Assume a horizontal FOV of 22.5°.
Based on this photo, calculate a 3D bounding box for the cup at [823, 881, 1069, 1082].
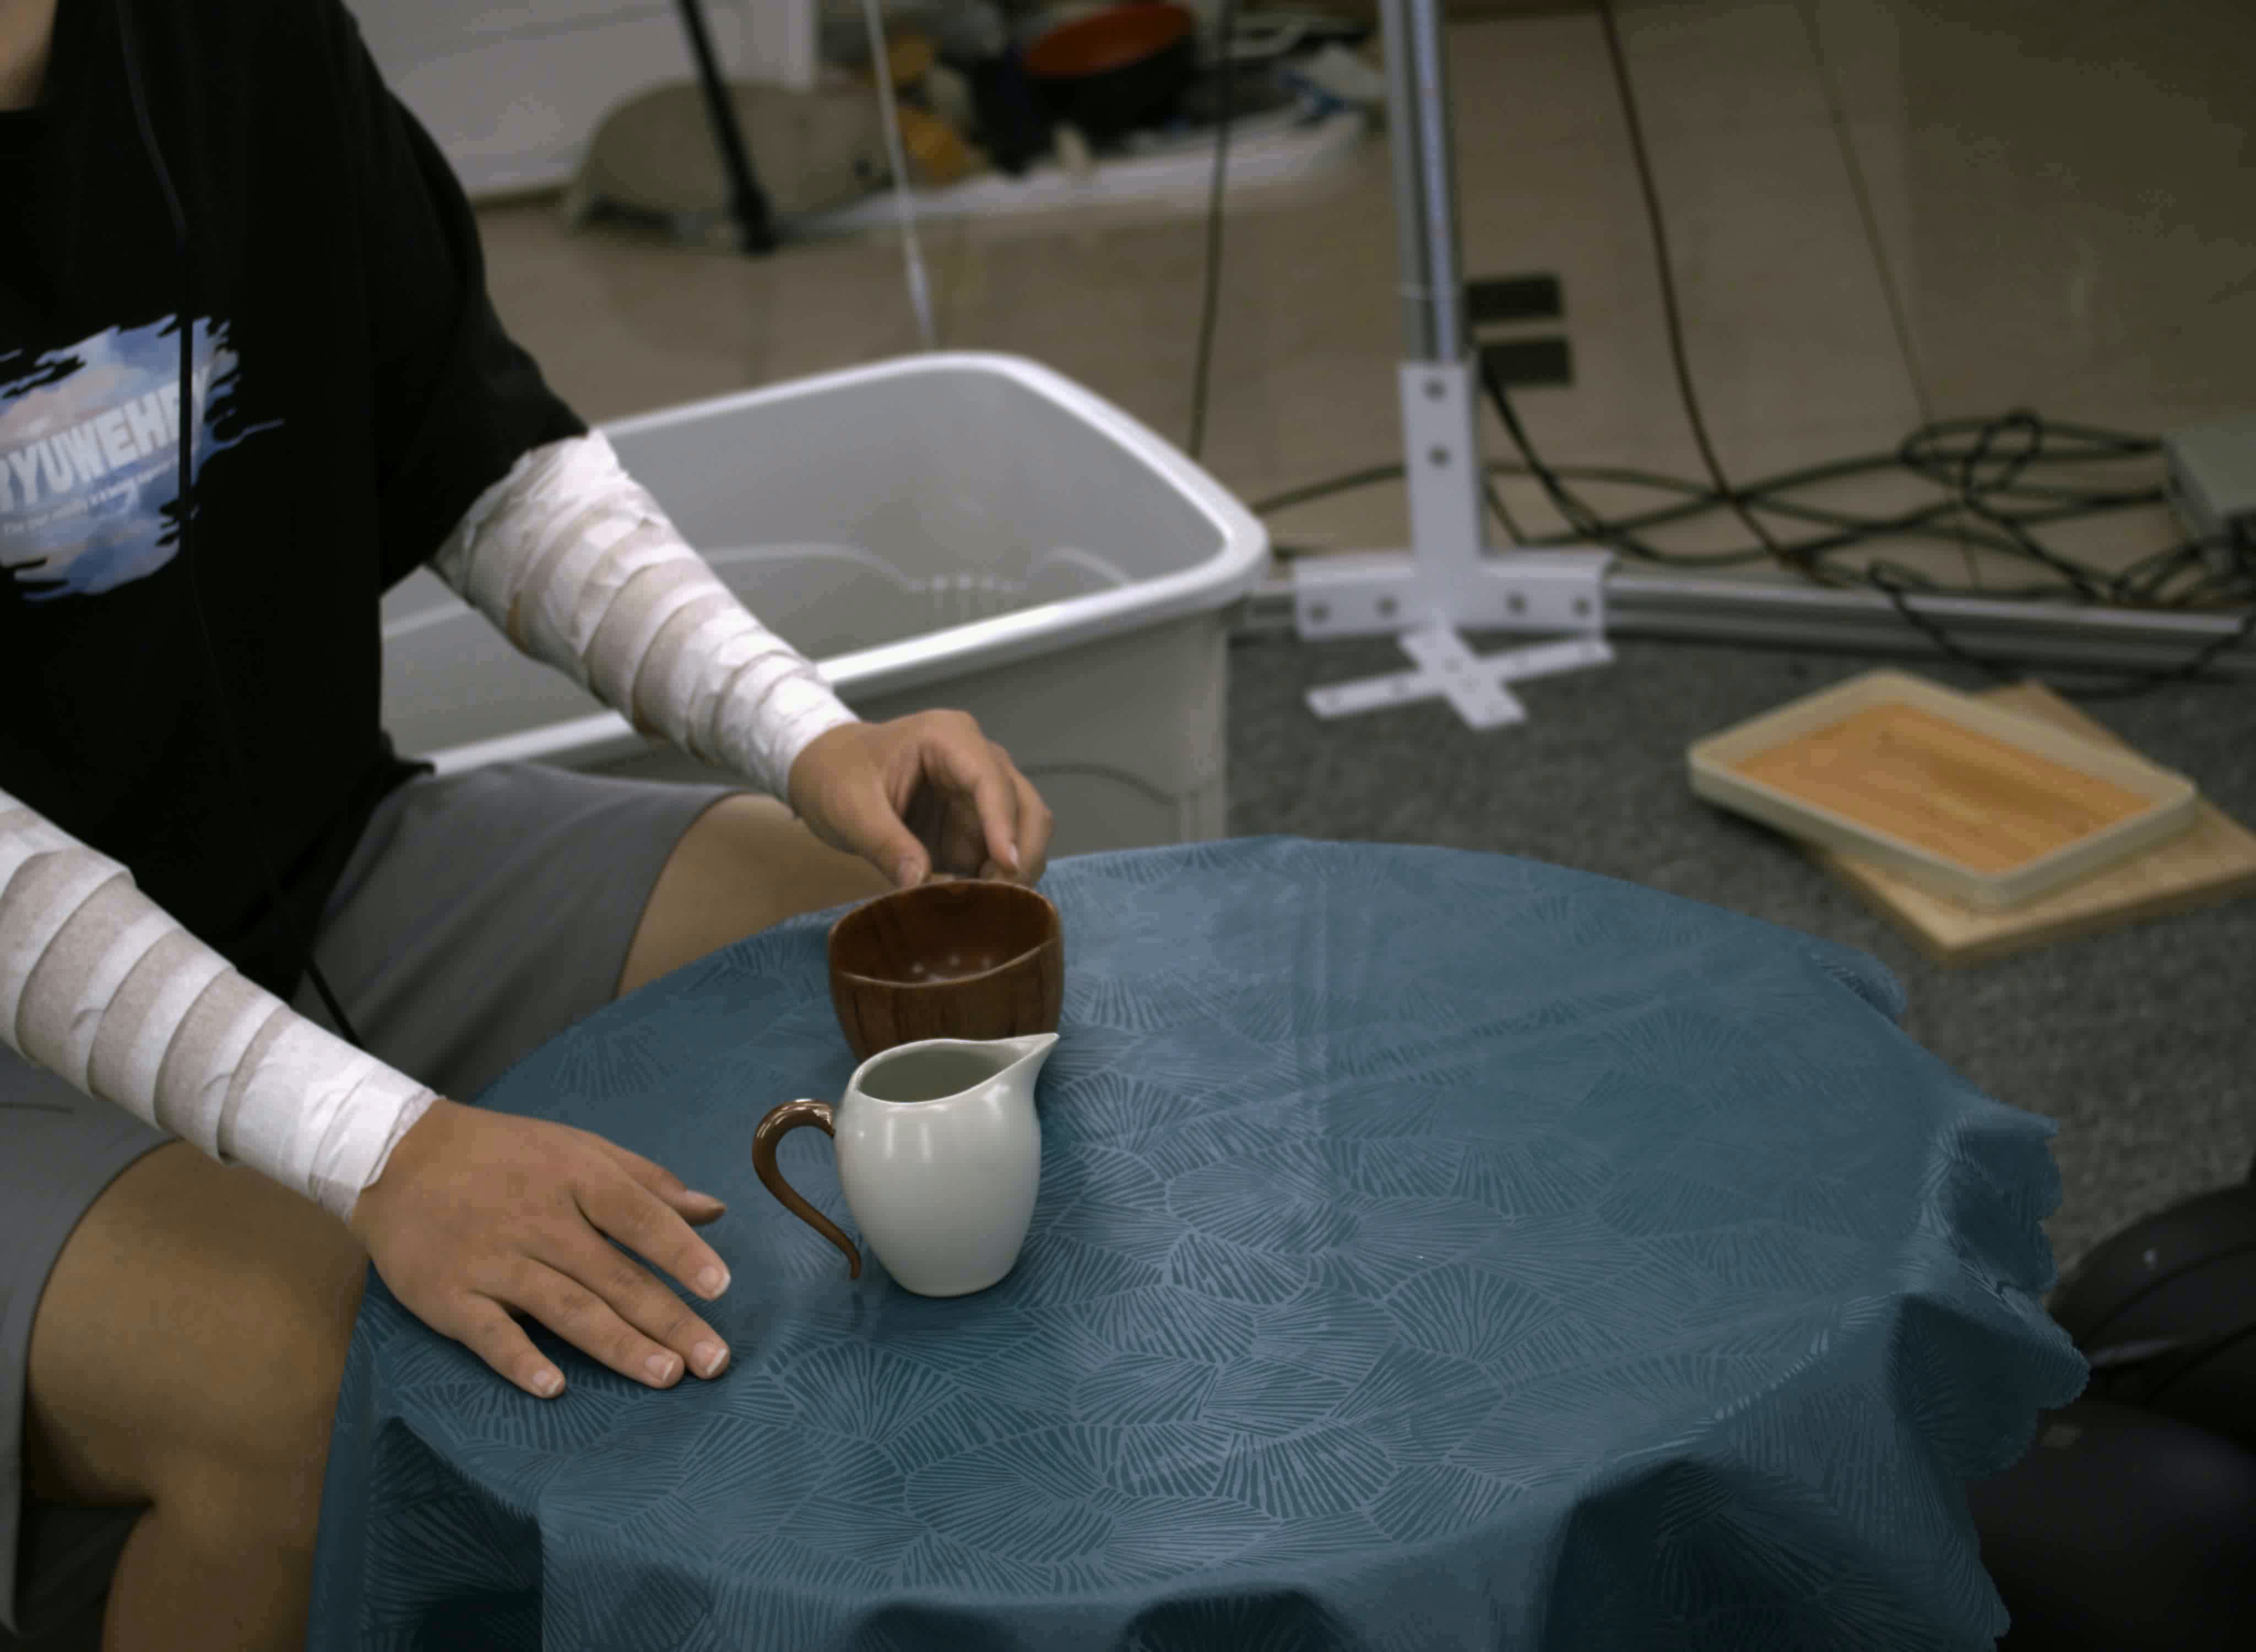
[{"bbox_3d":[-0.067,0.065,2.247,0.096,0.069,0.118,-7,23,8],"label":"cup"}]

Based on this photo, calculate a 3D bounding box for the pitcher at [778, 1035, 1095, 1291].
[{"bbox_3d":[-0.068,0.124,2.090,0.119,0.089,0.075,-5,20,-4],"label":"pitcher"}]
